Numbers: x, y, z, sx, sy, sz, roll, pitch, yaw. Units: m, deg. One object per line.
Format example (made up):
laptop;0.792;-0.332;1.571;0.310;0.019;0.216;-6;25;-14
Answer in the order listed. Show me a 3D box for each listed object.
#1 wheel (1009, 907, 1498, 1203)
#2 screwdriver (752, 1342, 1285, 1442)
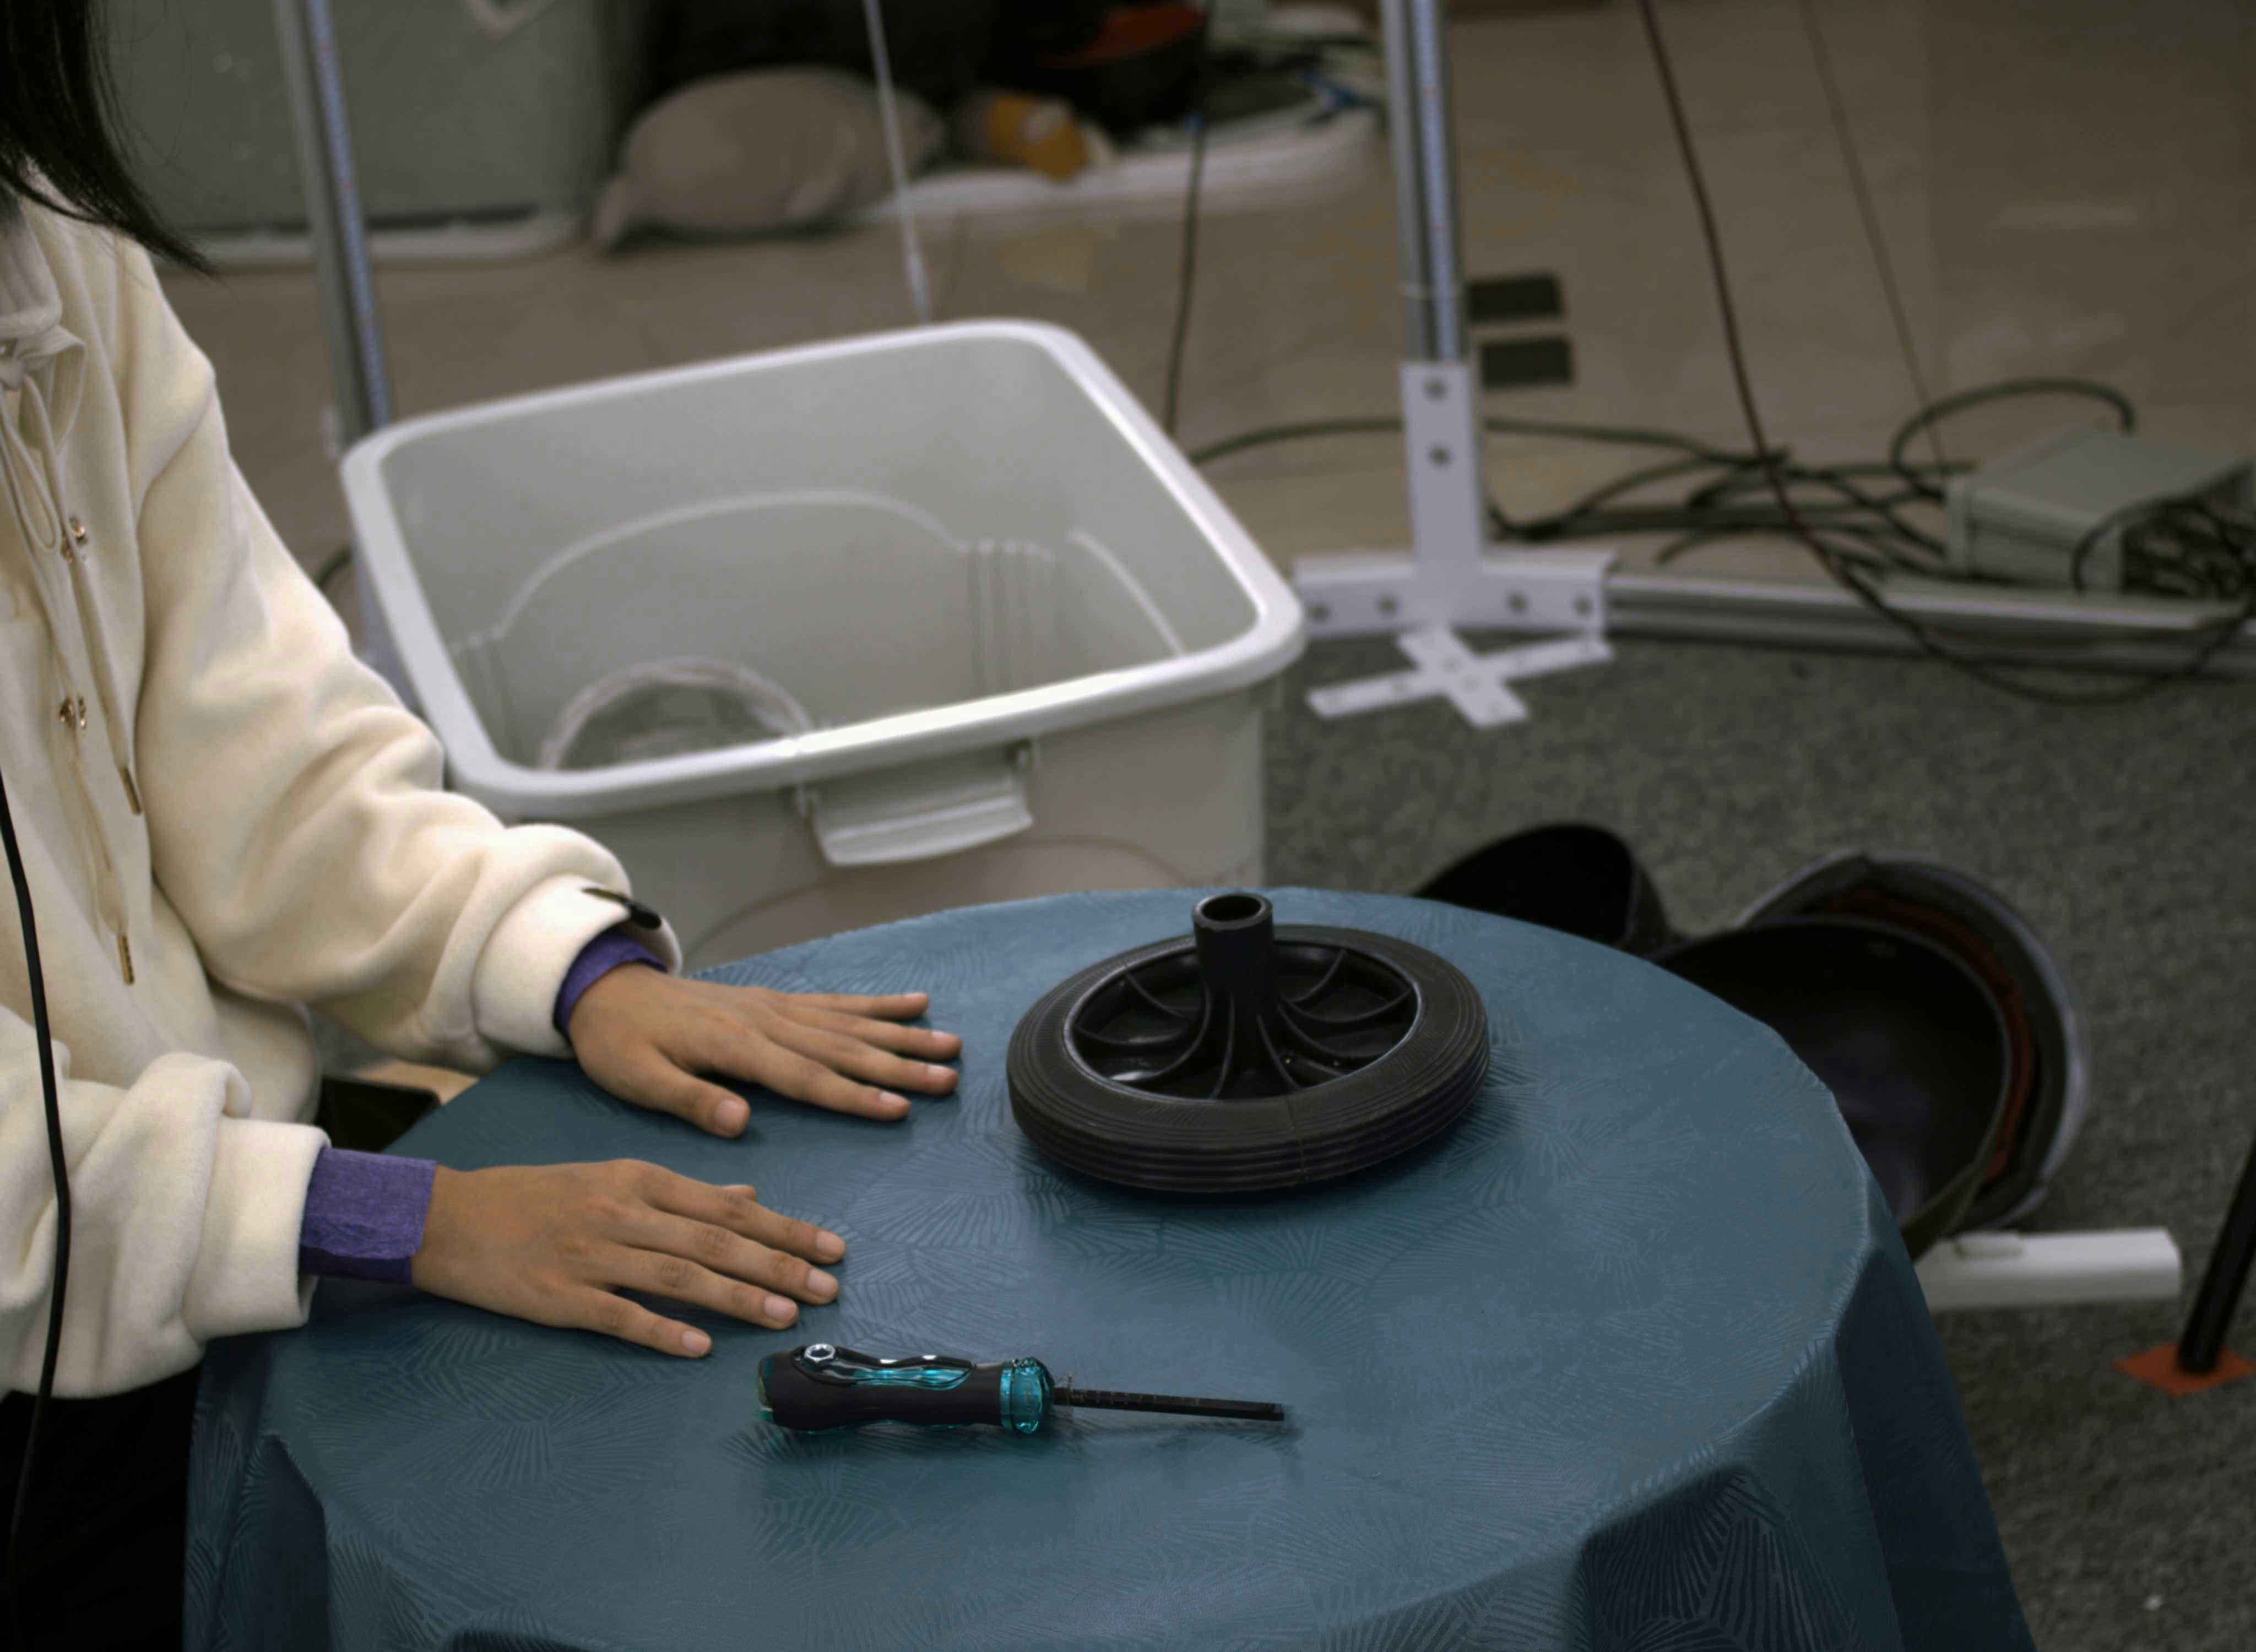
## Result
wheel;0.047;0.073;2.189;0.189;0.080;0.185;8;29;23
screwdriver;-0.039;0.203;1.996;0.189;0.034;0.033;4;26;9
